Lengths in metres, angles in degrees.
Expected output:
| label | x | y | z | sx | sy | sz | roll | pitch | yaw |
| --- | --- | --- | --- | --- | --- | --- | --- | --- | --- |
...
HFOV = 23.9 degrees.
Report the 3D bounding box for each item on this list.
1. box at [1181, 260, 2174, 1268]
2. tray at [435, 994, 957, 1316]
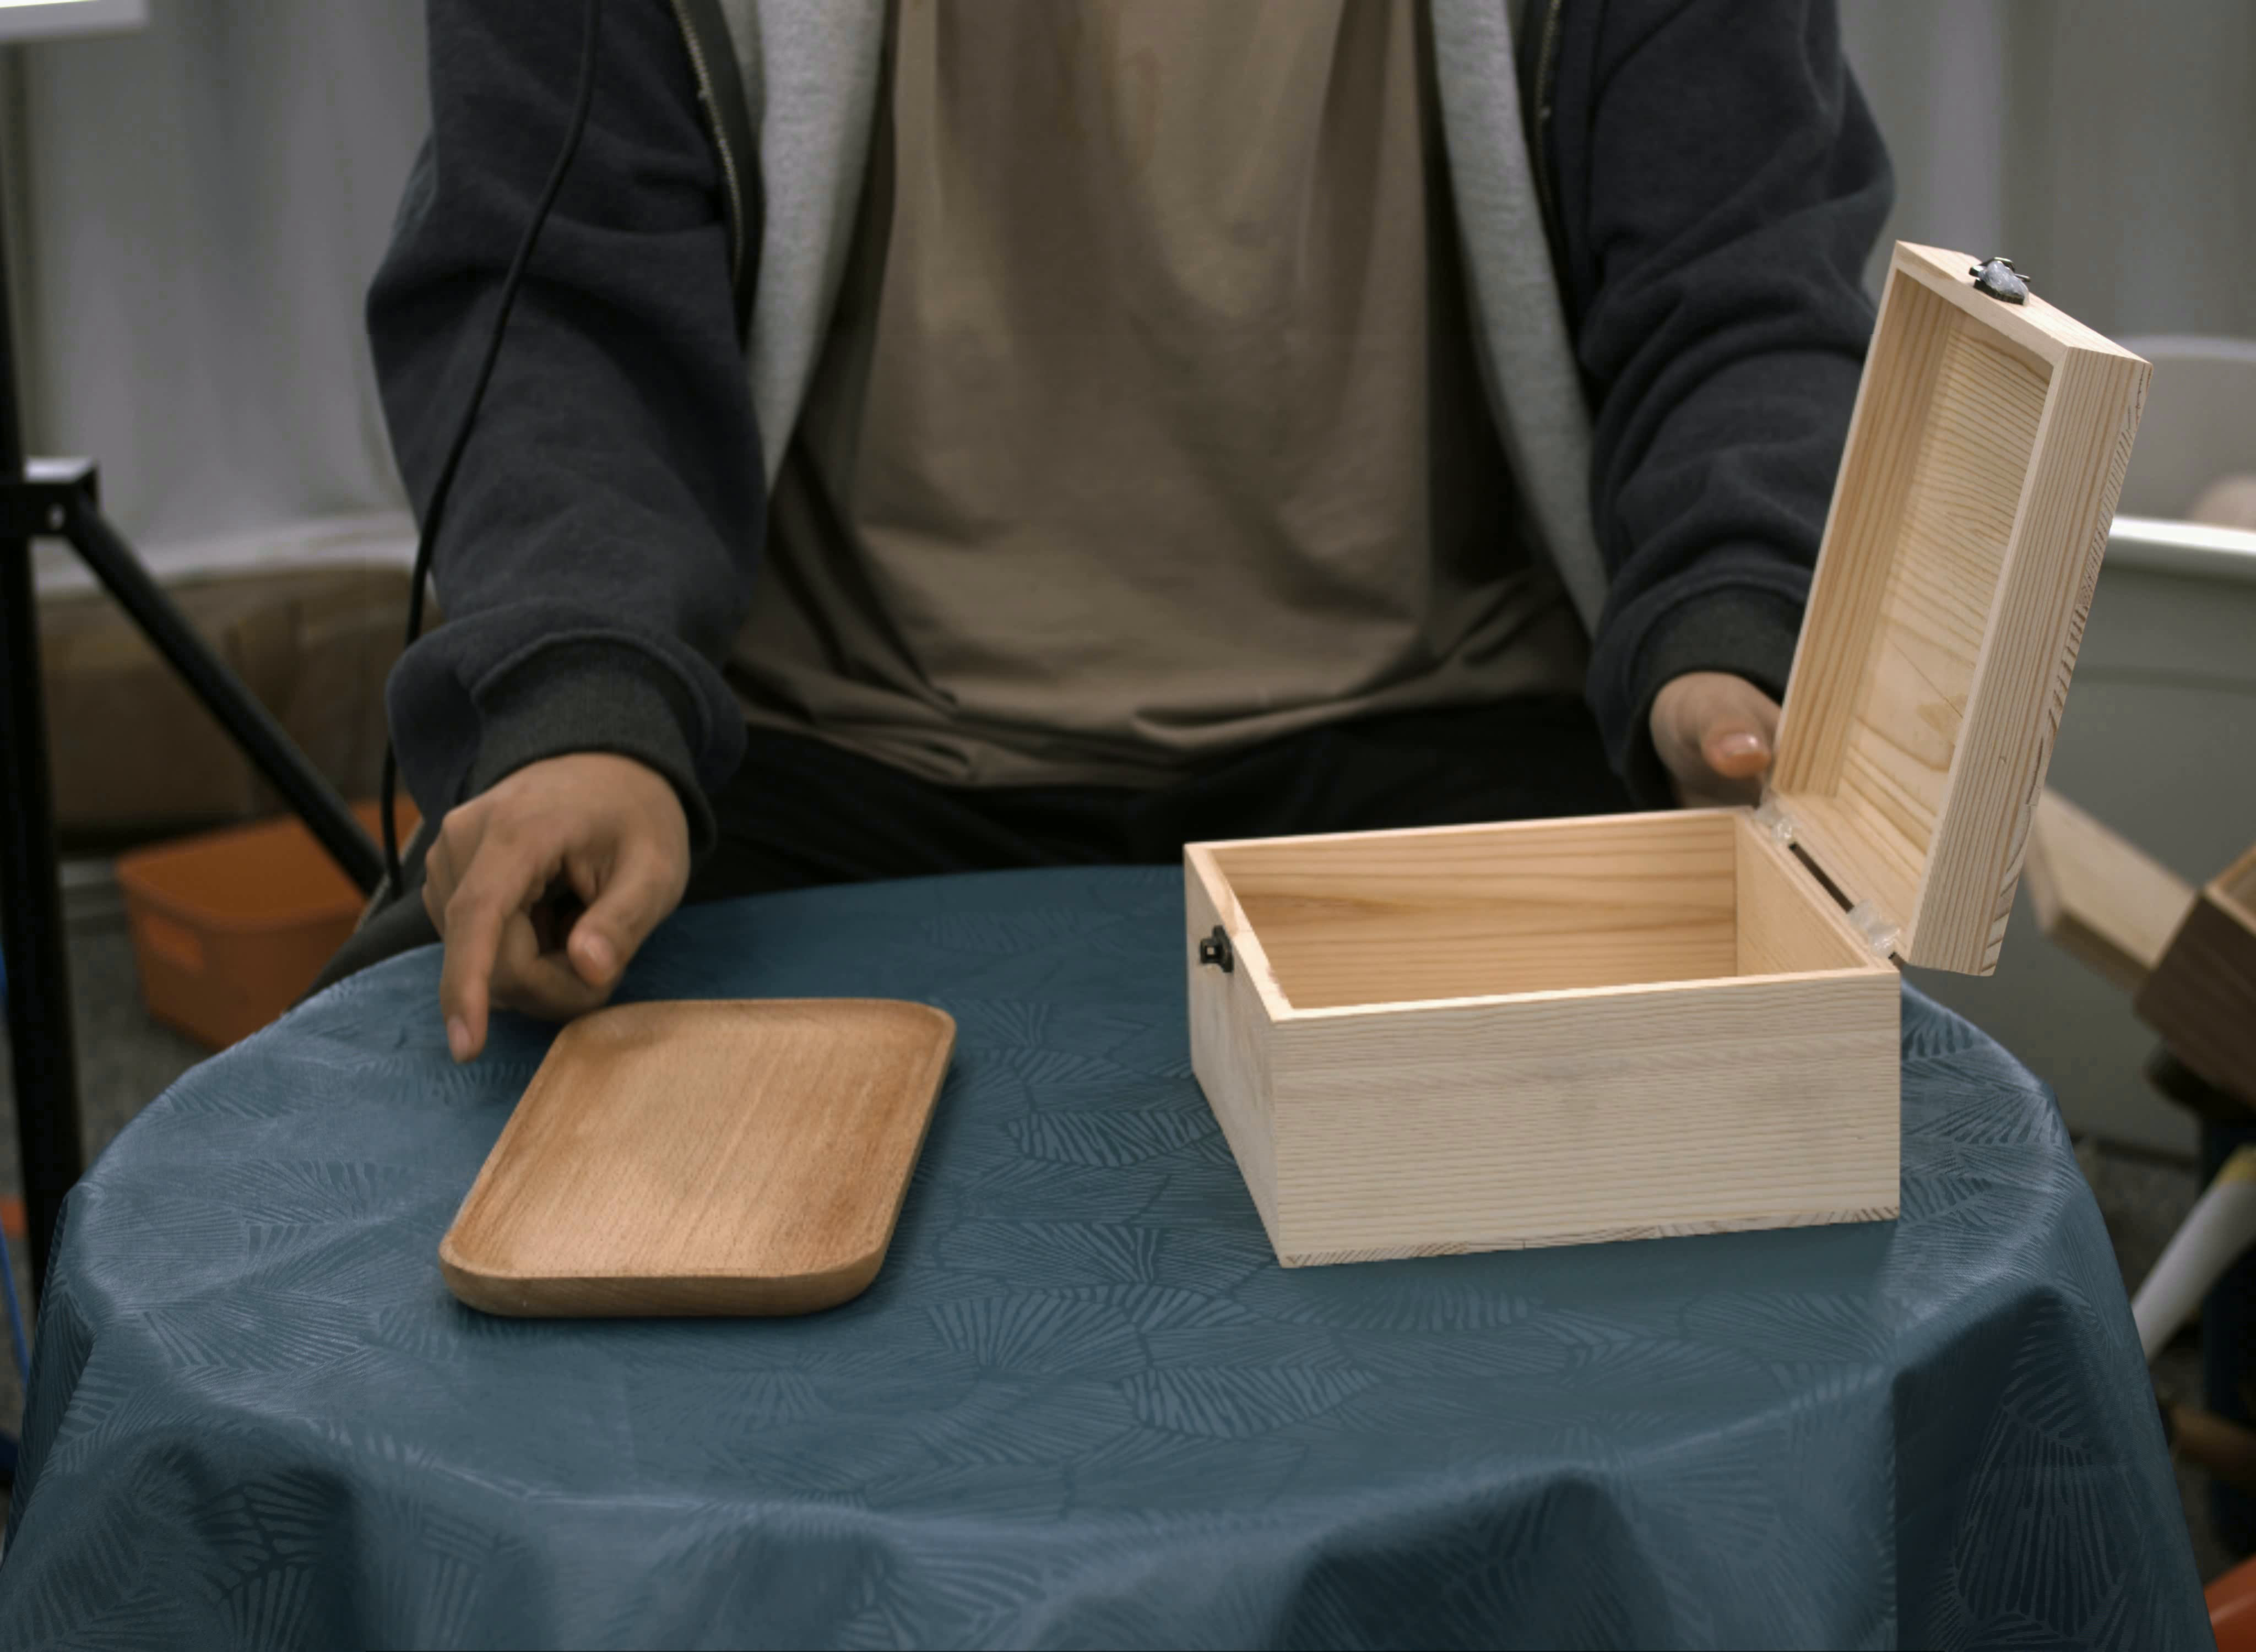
| label | x | y | z | sx | sy | sz | roll | pitch | yaw |
| --- | --- | --- | --- | --- | --- | --- | --- | --- | --- |
| box | 0.151 | -0.025 | 1.558 | 0.262 | 0.253 | 0.183 | -3 | 12 | -6 |
| tray | -0.124 | 0.096 | 1.592 | 0.130 | 0.023 | 0.250 | 2 | 16 | 5 |
